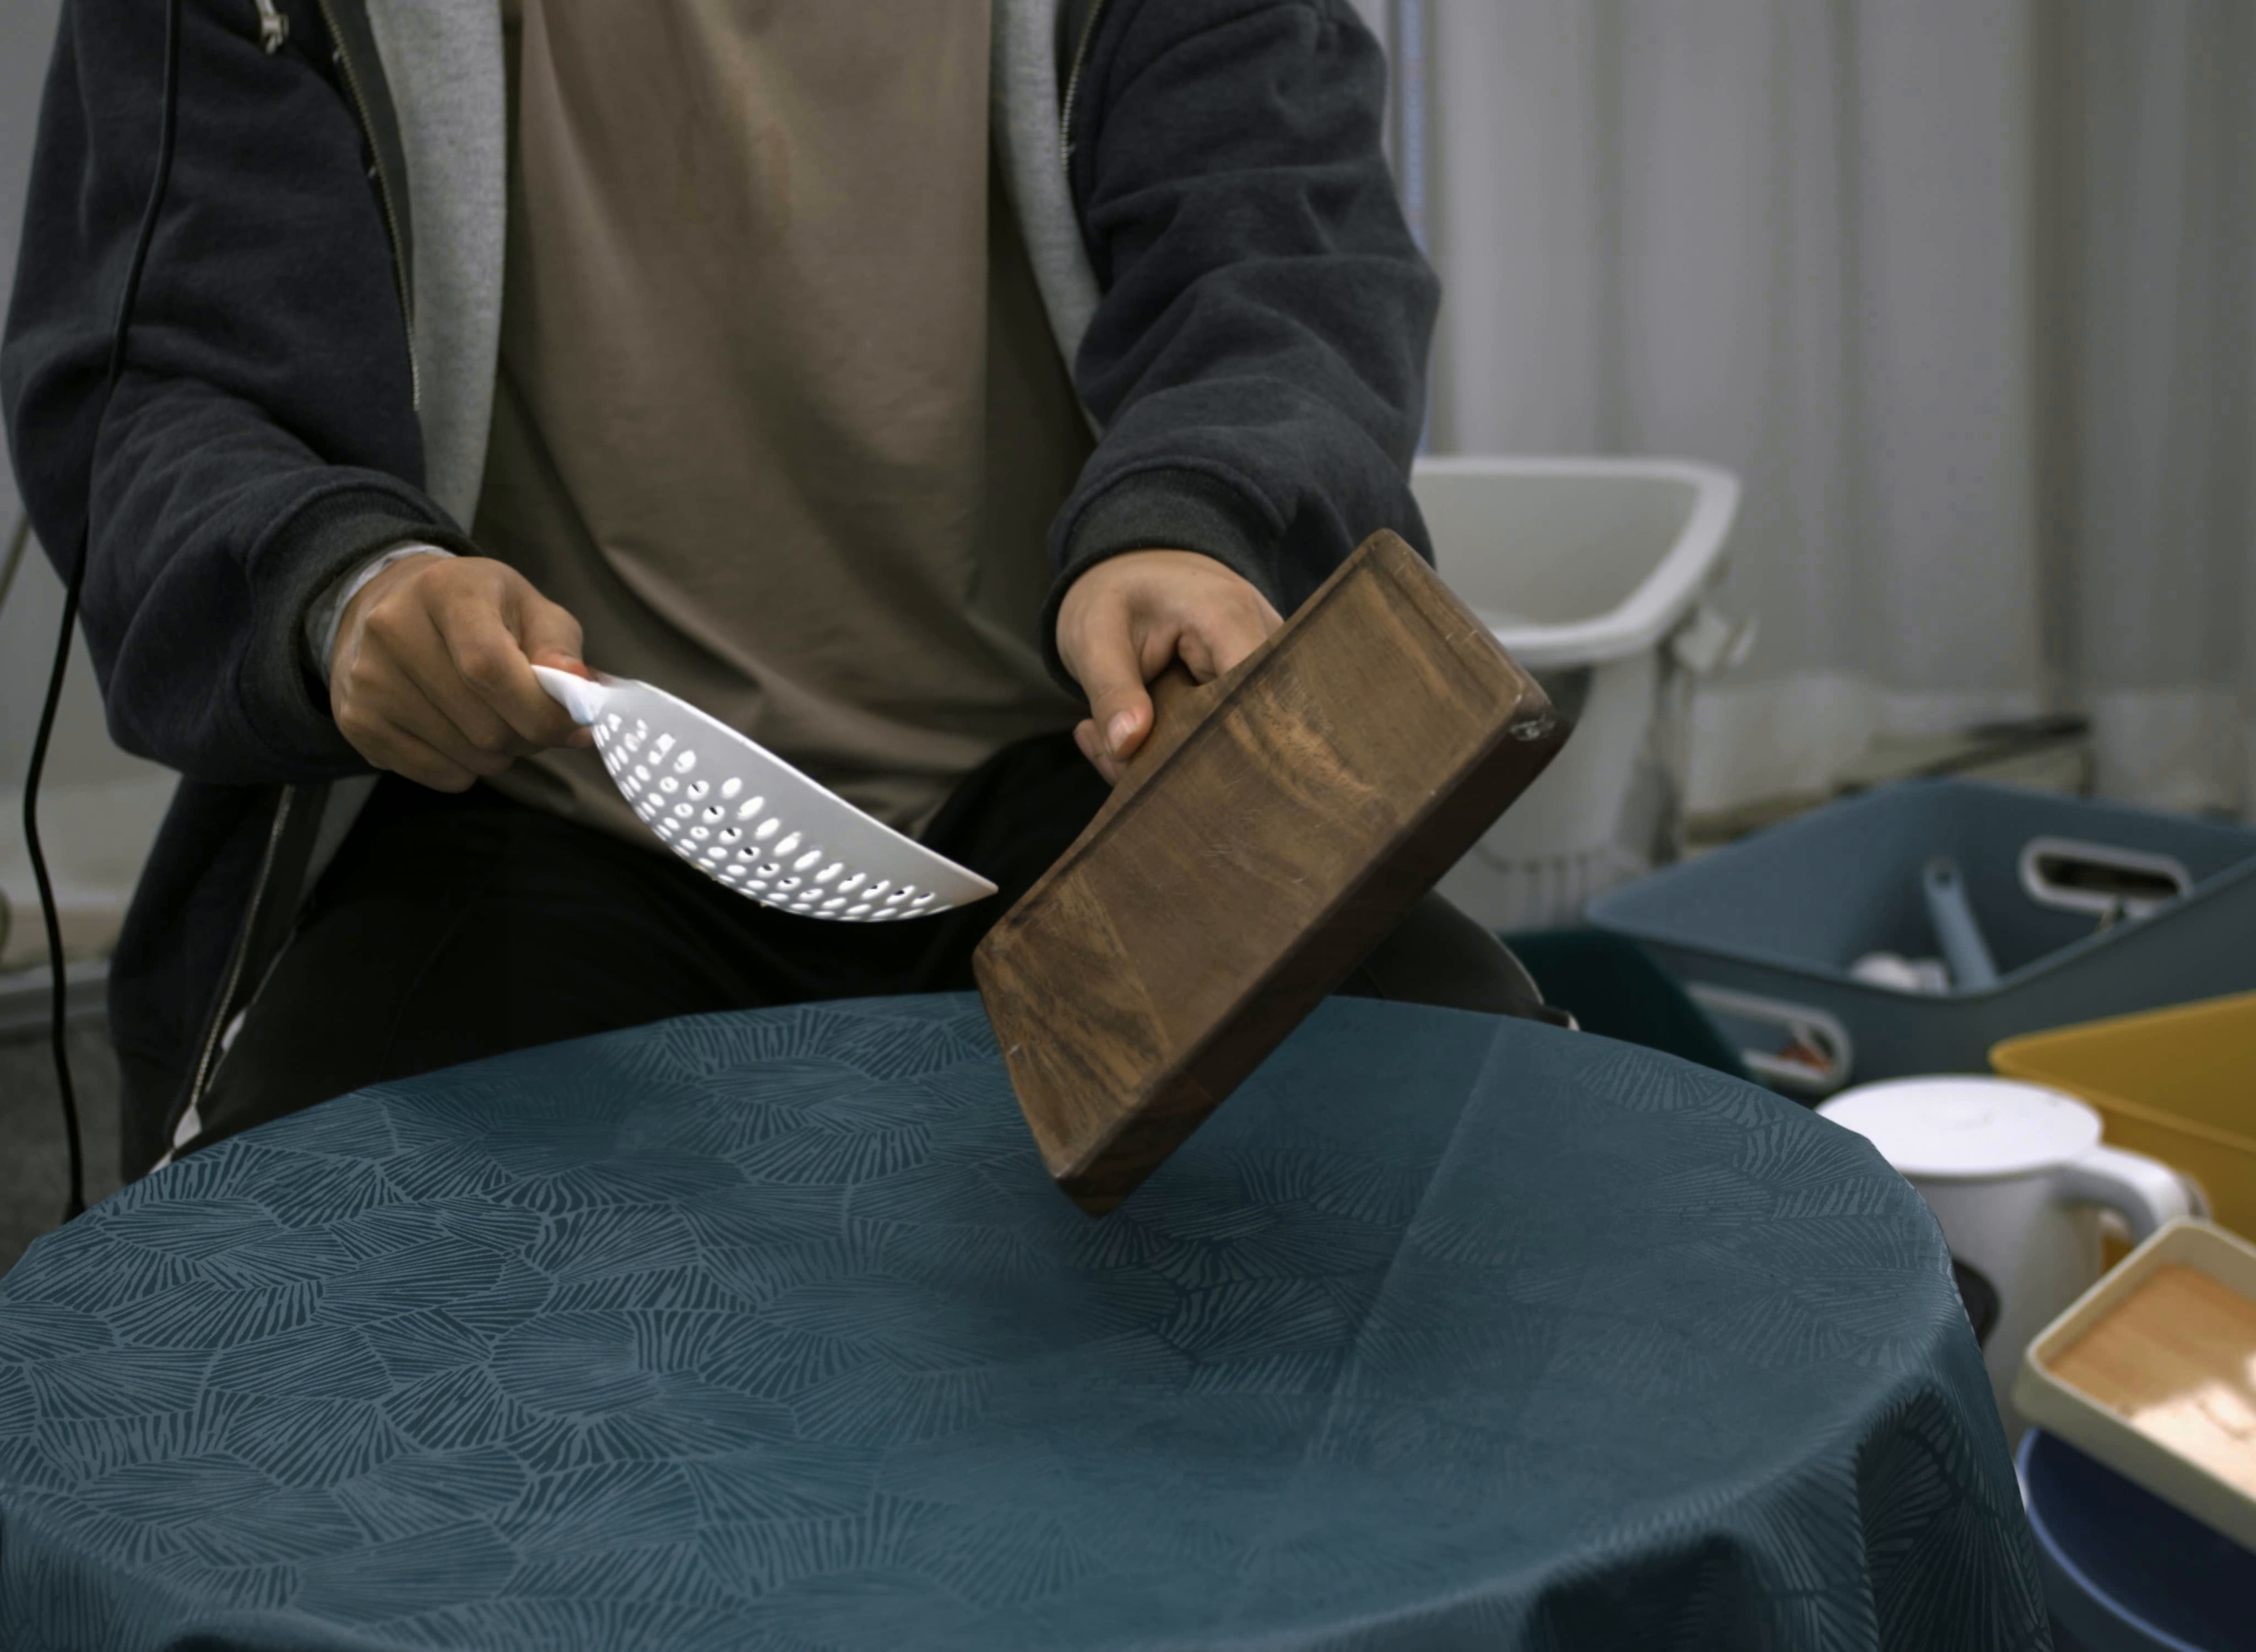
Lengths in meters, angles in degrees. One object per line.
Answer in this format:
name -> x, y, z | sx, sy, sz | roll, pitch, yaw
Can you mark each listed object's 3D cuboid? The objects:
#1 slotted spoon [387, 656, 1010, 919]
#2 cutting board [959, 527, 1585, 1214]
slotted spoon -> -0.154, -0.024, 1.704 | 0.135, 0.050, 0.351 | 30, -1, -29
cutting board -> 0.030, -0.005, 1.686 | 0.201, 0.023, 0.355 | -45, 15, 4
